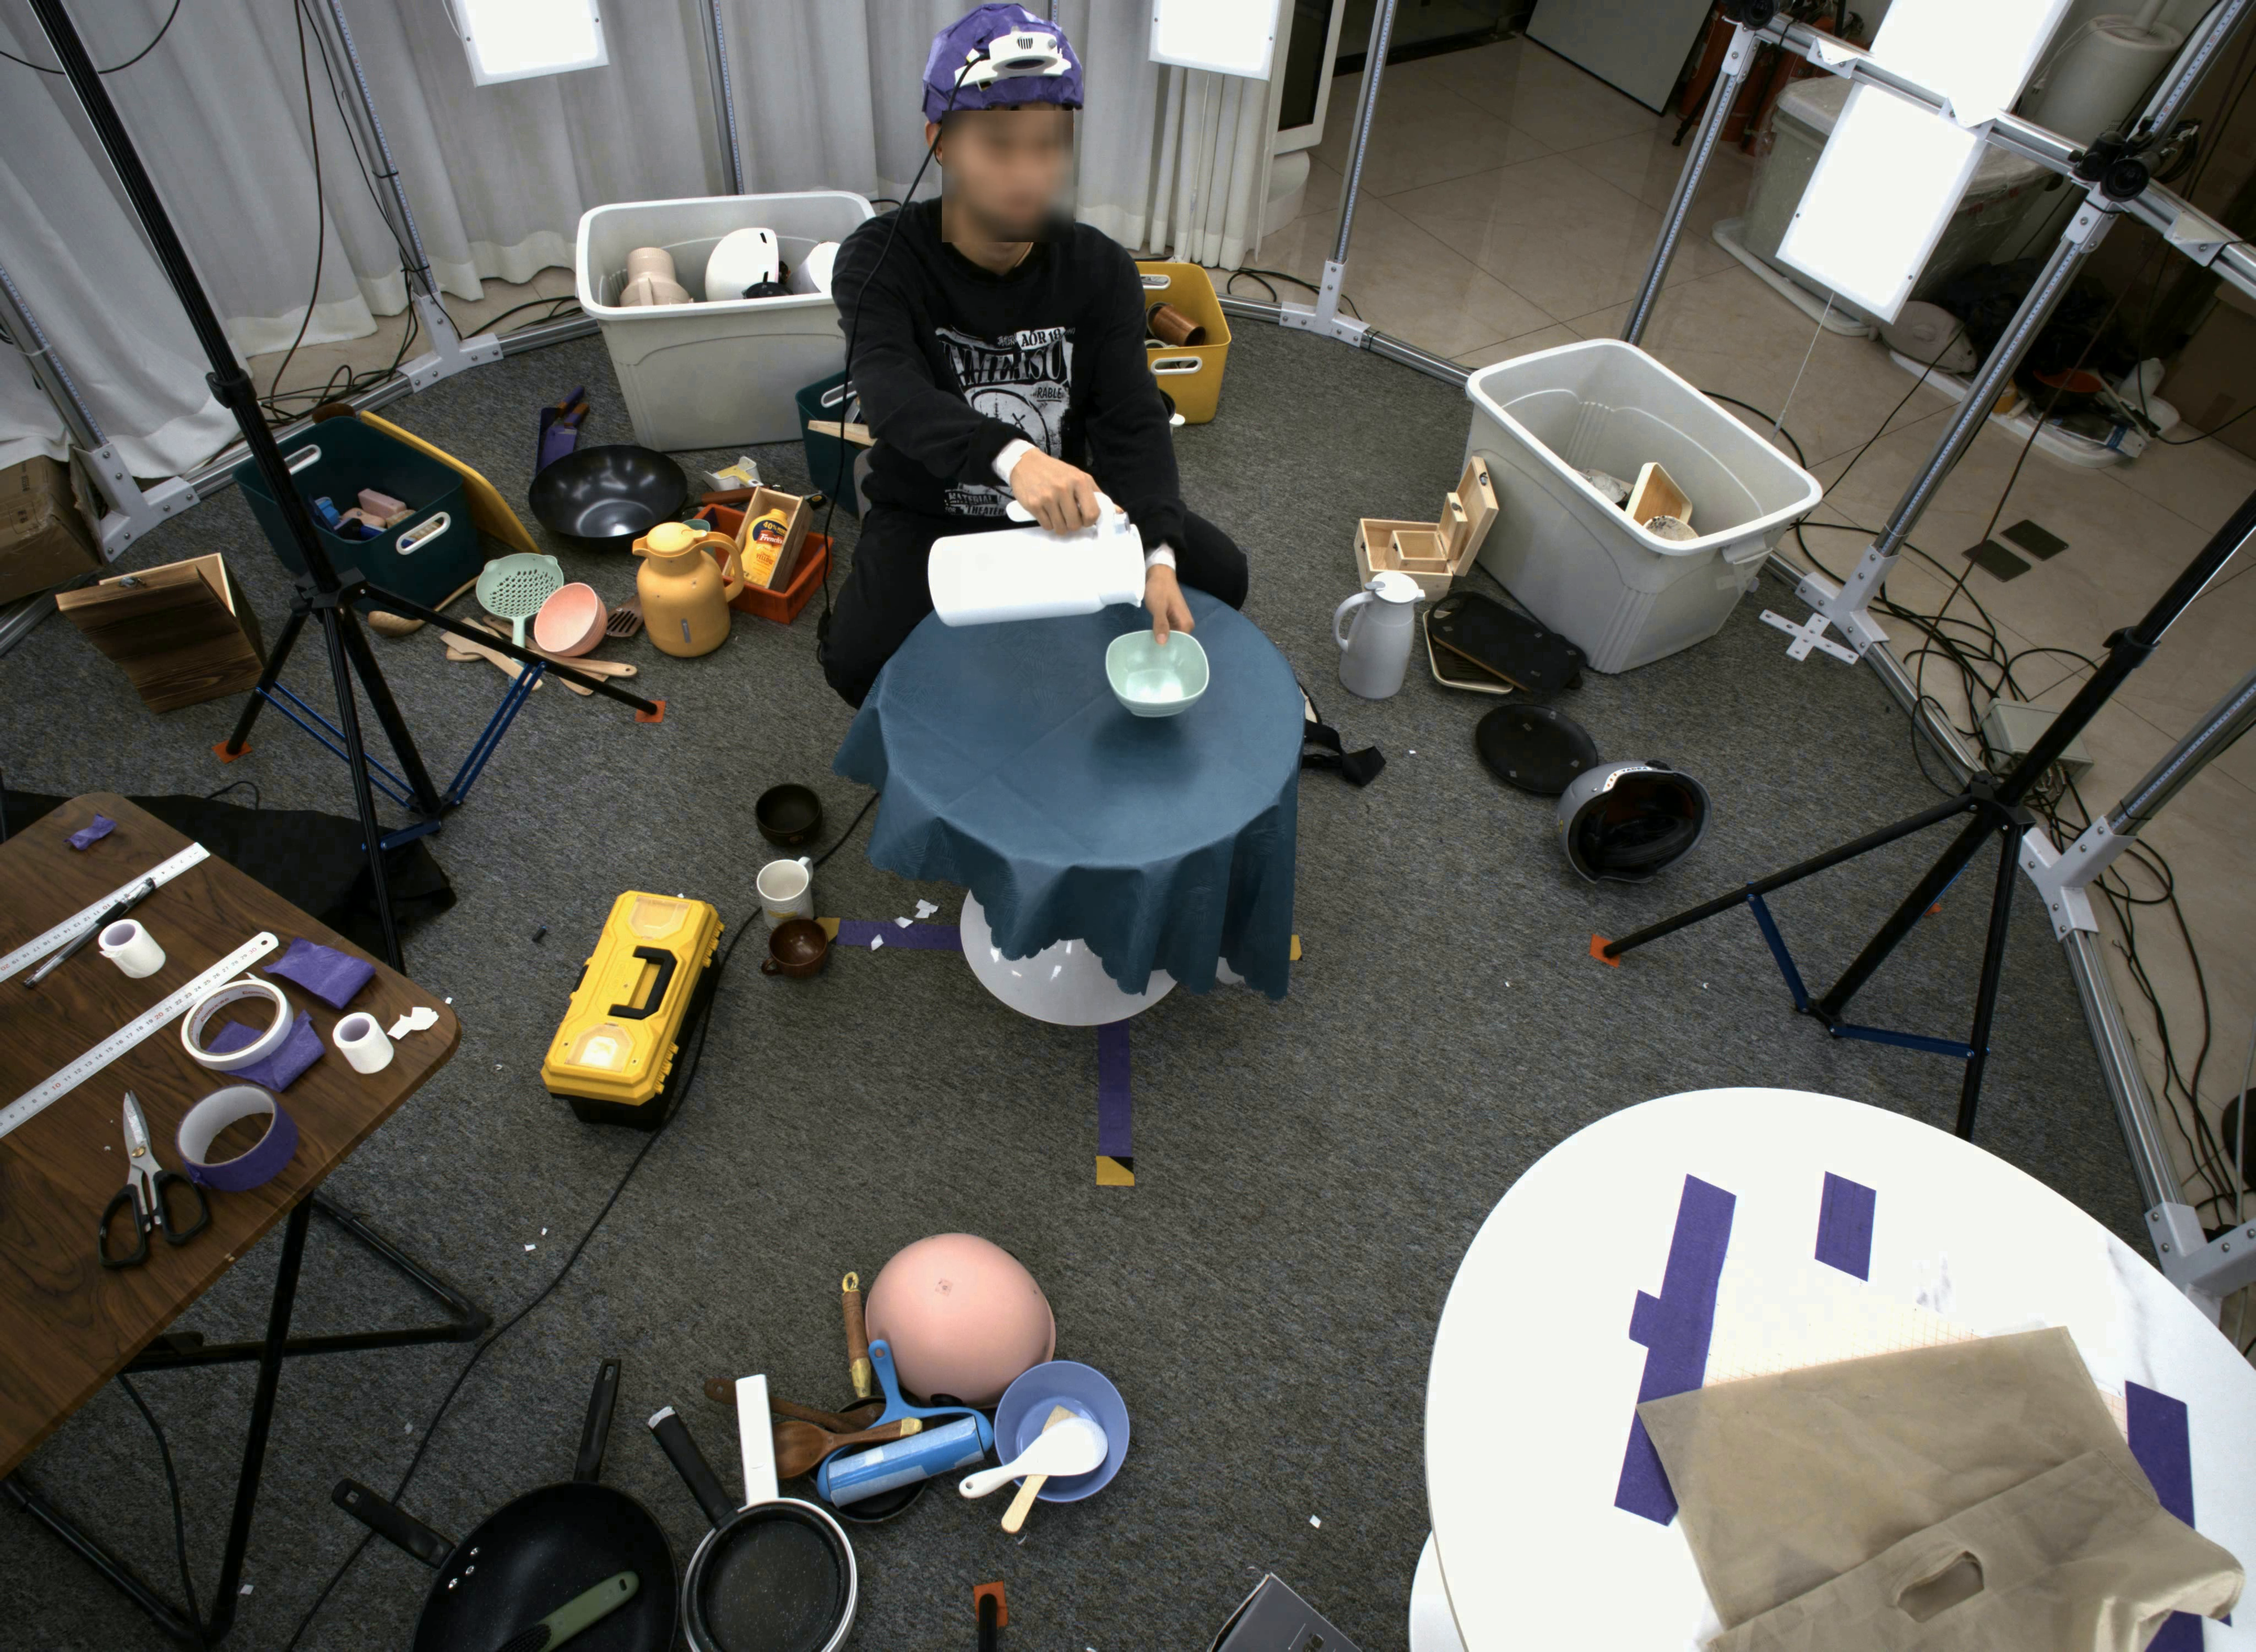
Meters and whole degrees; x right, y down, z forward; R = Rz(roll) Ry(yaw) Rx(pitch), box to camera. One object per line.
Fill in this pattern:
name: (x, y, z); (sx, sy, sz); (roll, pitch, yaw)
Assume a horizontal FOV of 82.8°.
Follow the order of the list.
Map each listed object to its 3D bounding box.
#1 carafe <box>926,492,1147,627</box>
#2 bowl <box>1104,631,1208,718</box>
carafe: (-0.121, -0.337, 1.650); (0.269, 0.168, 0.127); (-2, 48, 15)
bowl: (0.037, -0.199, 1.752); (0.151, 0.057, 0.155); (1, 50, -1)
